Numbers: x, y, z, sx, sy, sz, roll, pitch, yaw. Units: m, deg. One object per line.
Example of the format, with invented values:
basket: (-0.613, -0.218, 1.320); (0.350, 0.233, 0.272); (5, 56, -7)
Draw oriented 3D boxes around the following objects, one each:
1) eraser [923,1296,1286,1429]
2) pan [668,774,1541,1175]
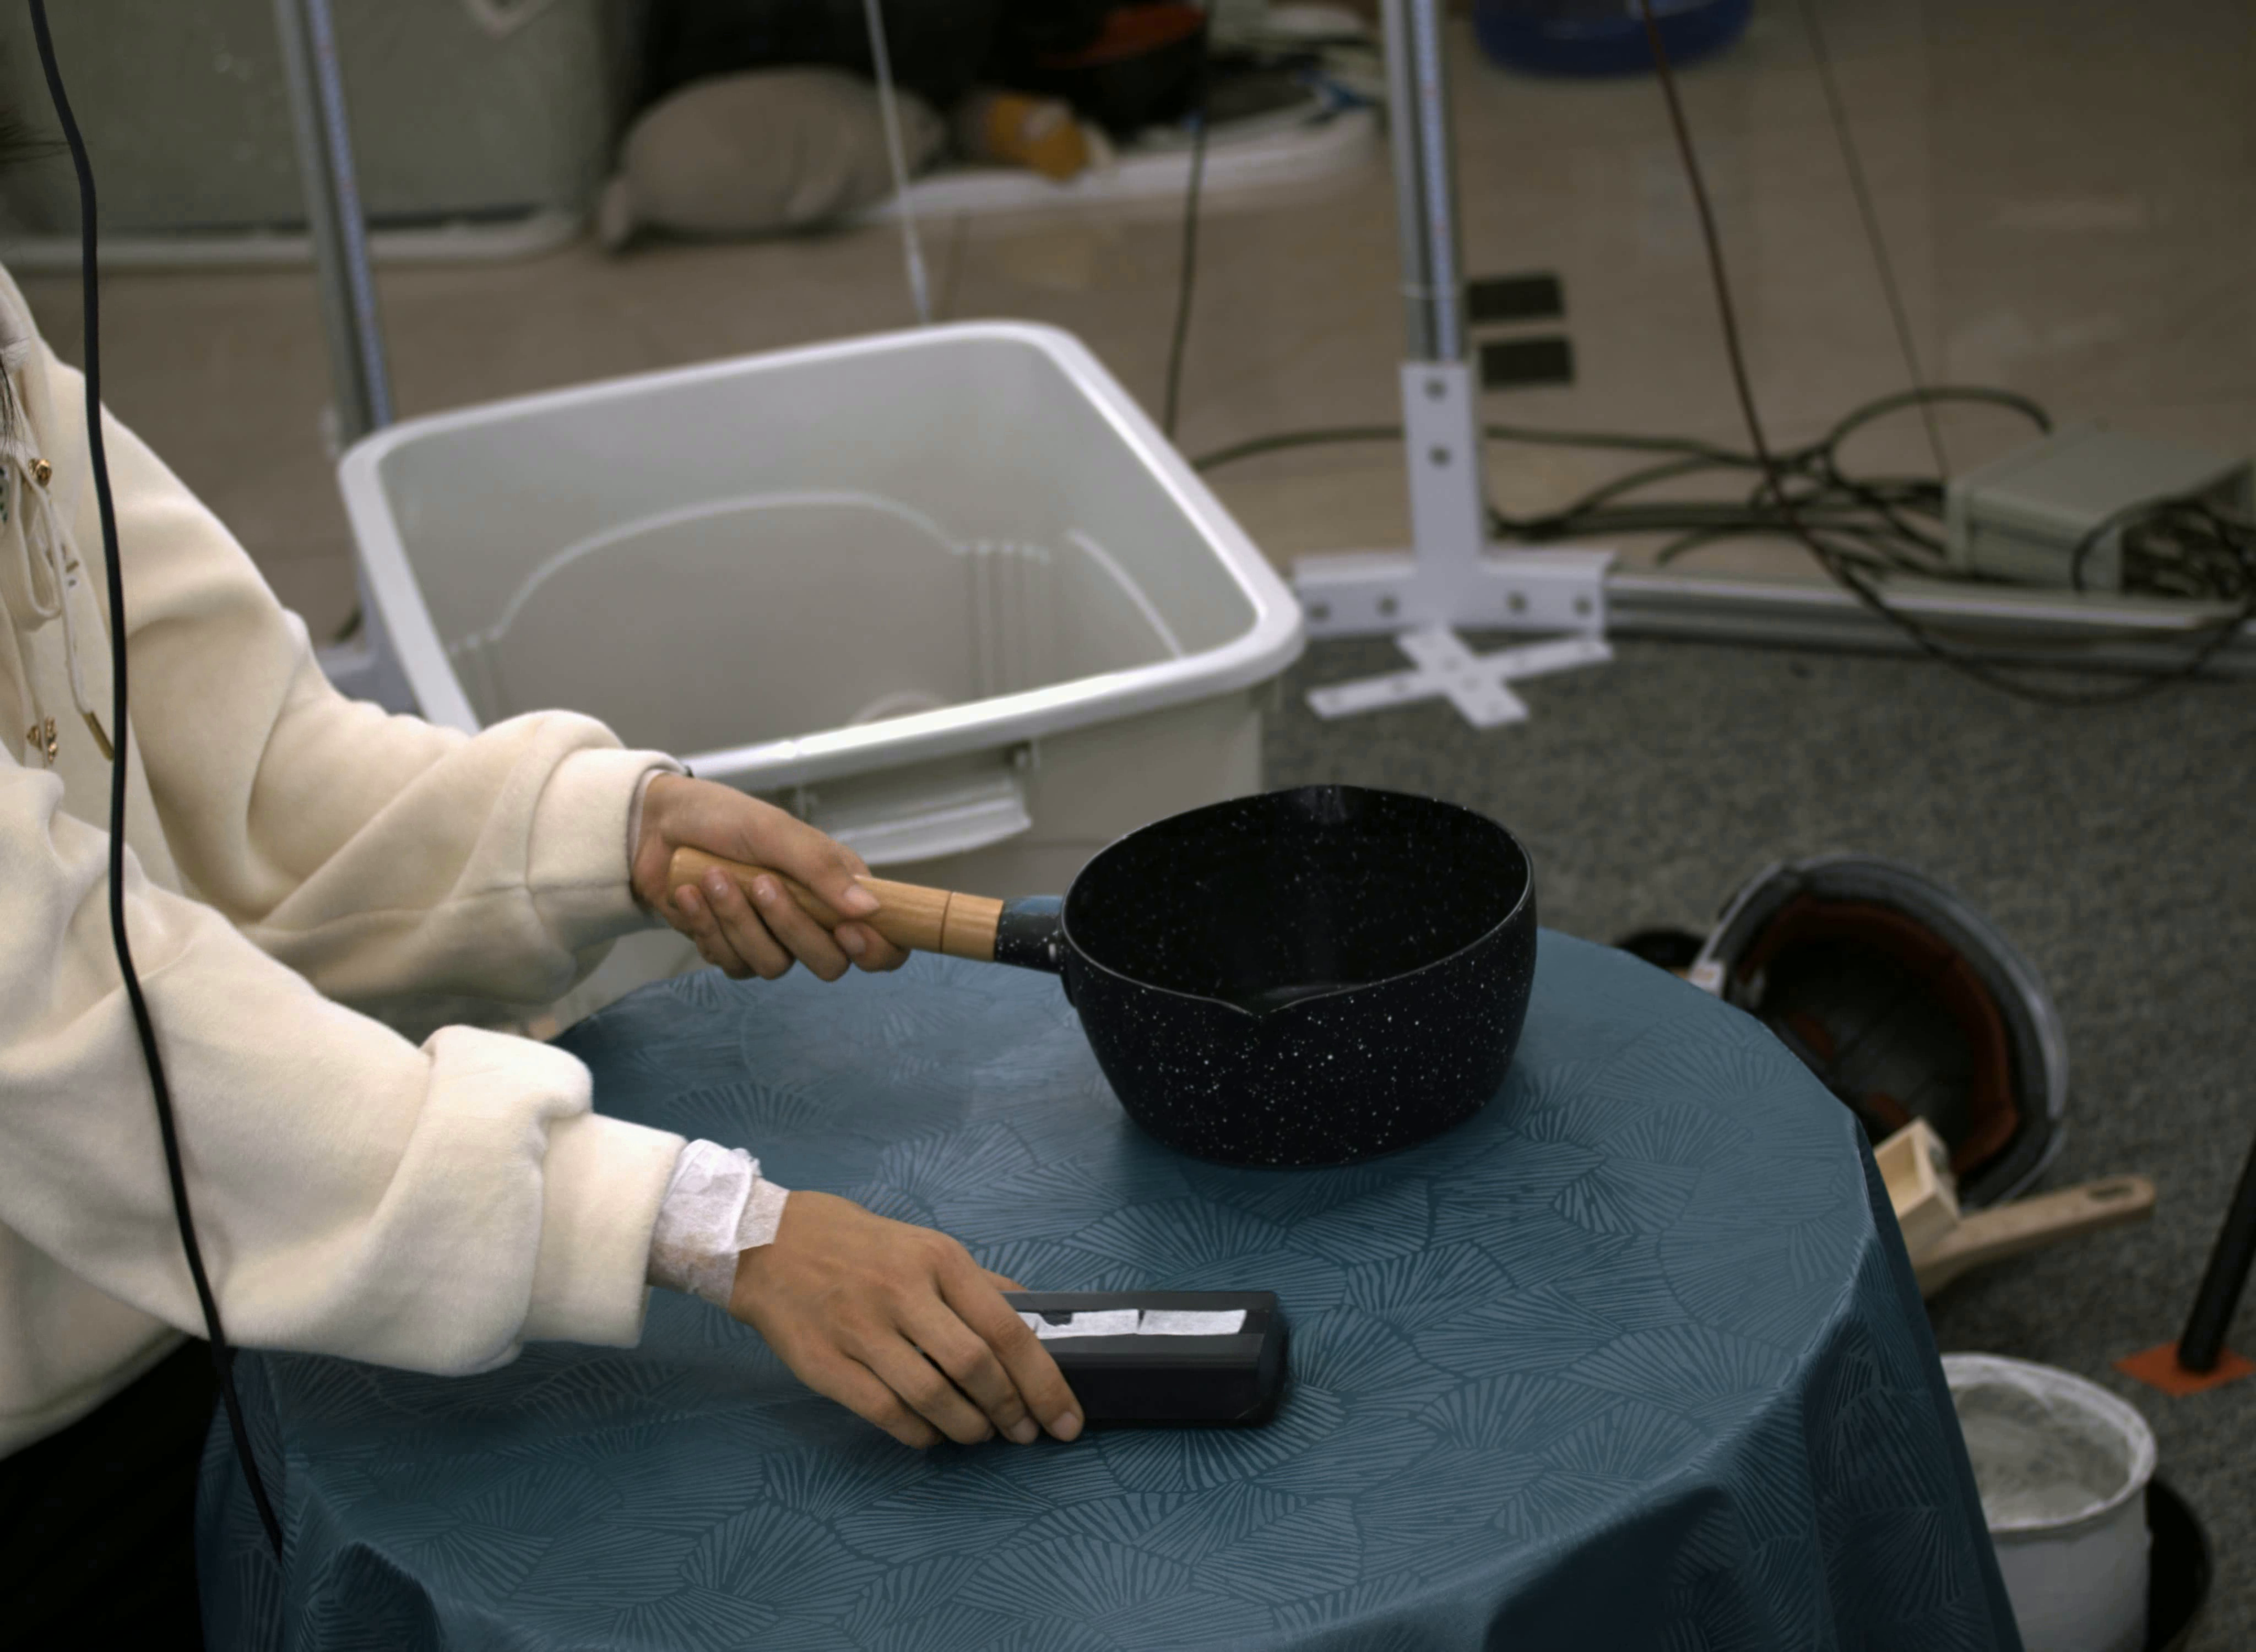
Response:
eraser: (-0.007, 0.189, 2.008); (0.125, 0.031, 0.053); (-2, 25, 11)
pan: (-0.010, 0.054, 2.204); (0.342, 0.110, 0.204); (-1, 27, 9)
